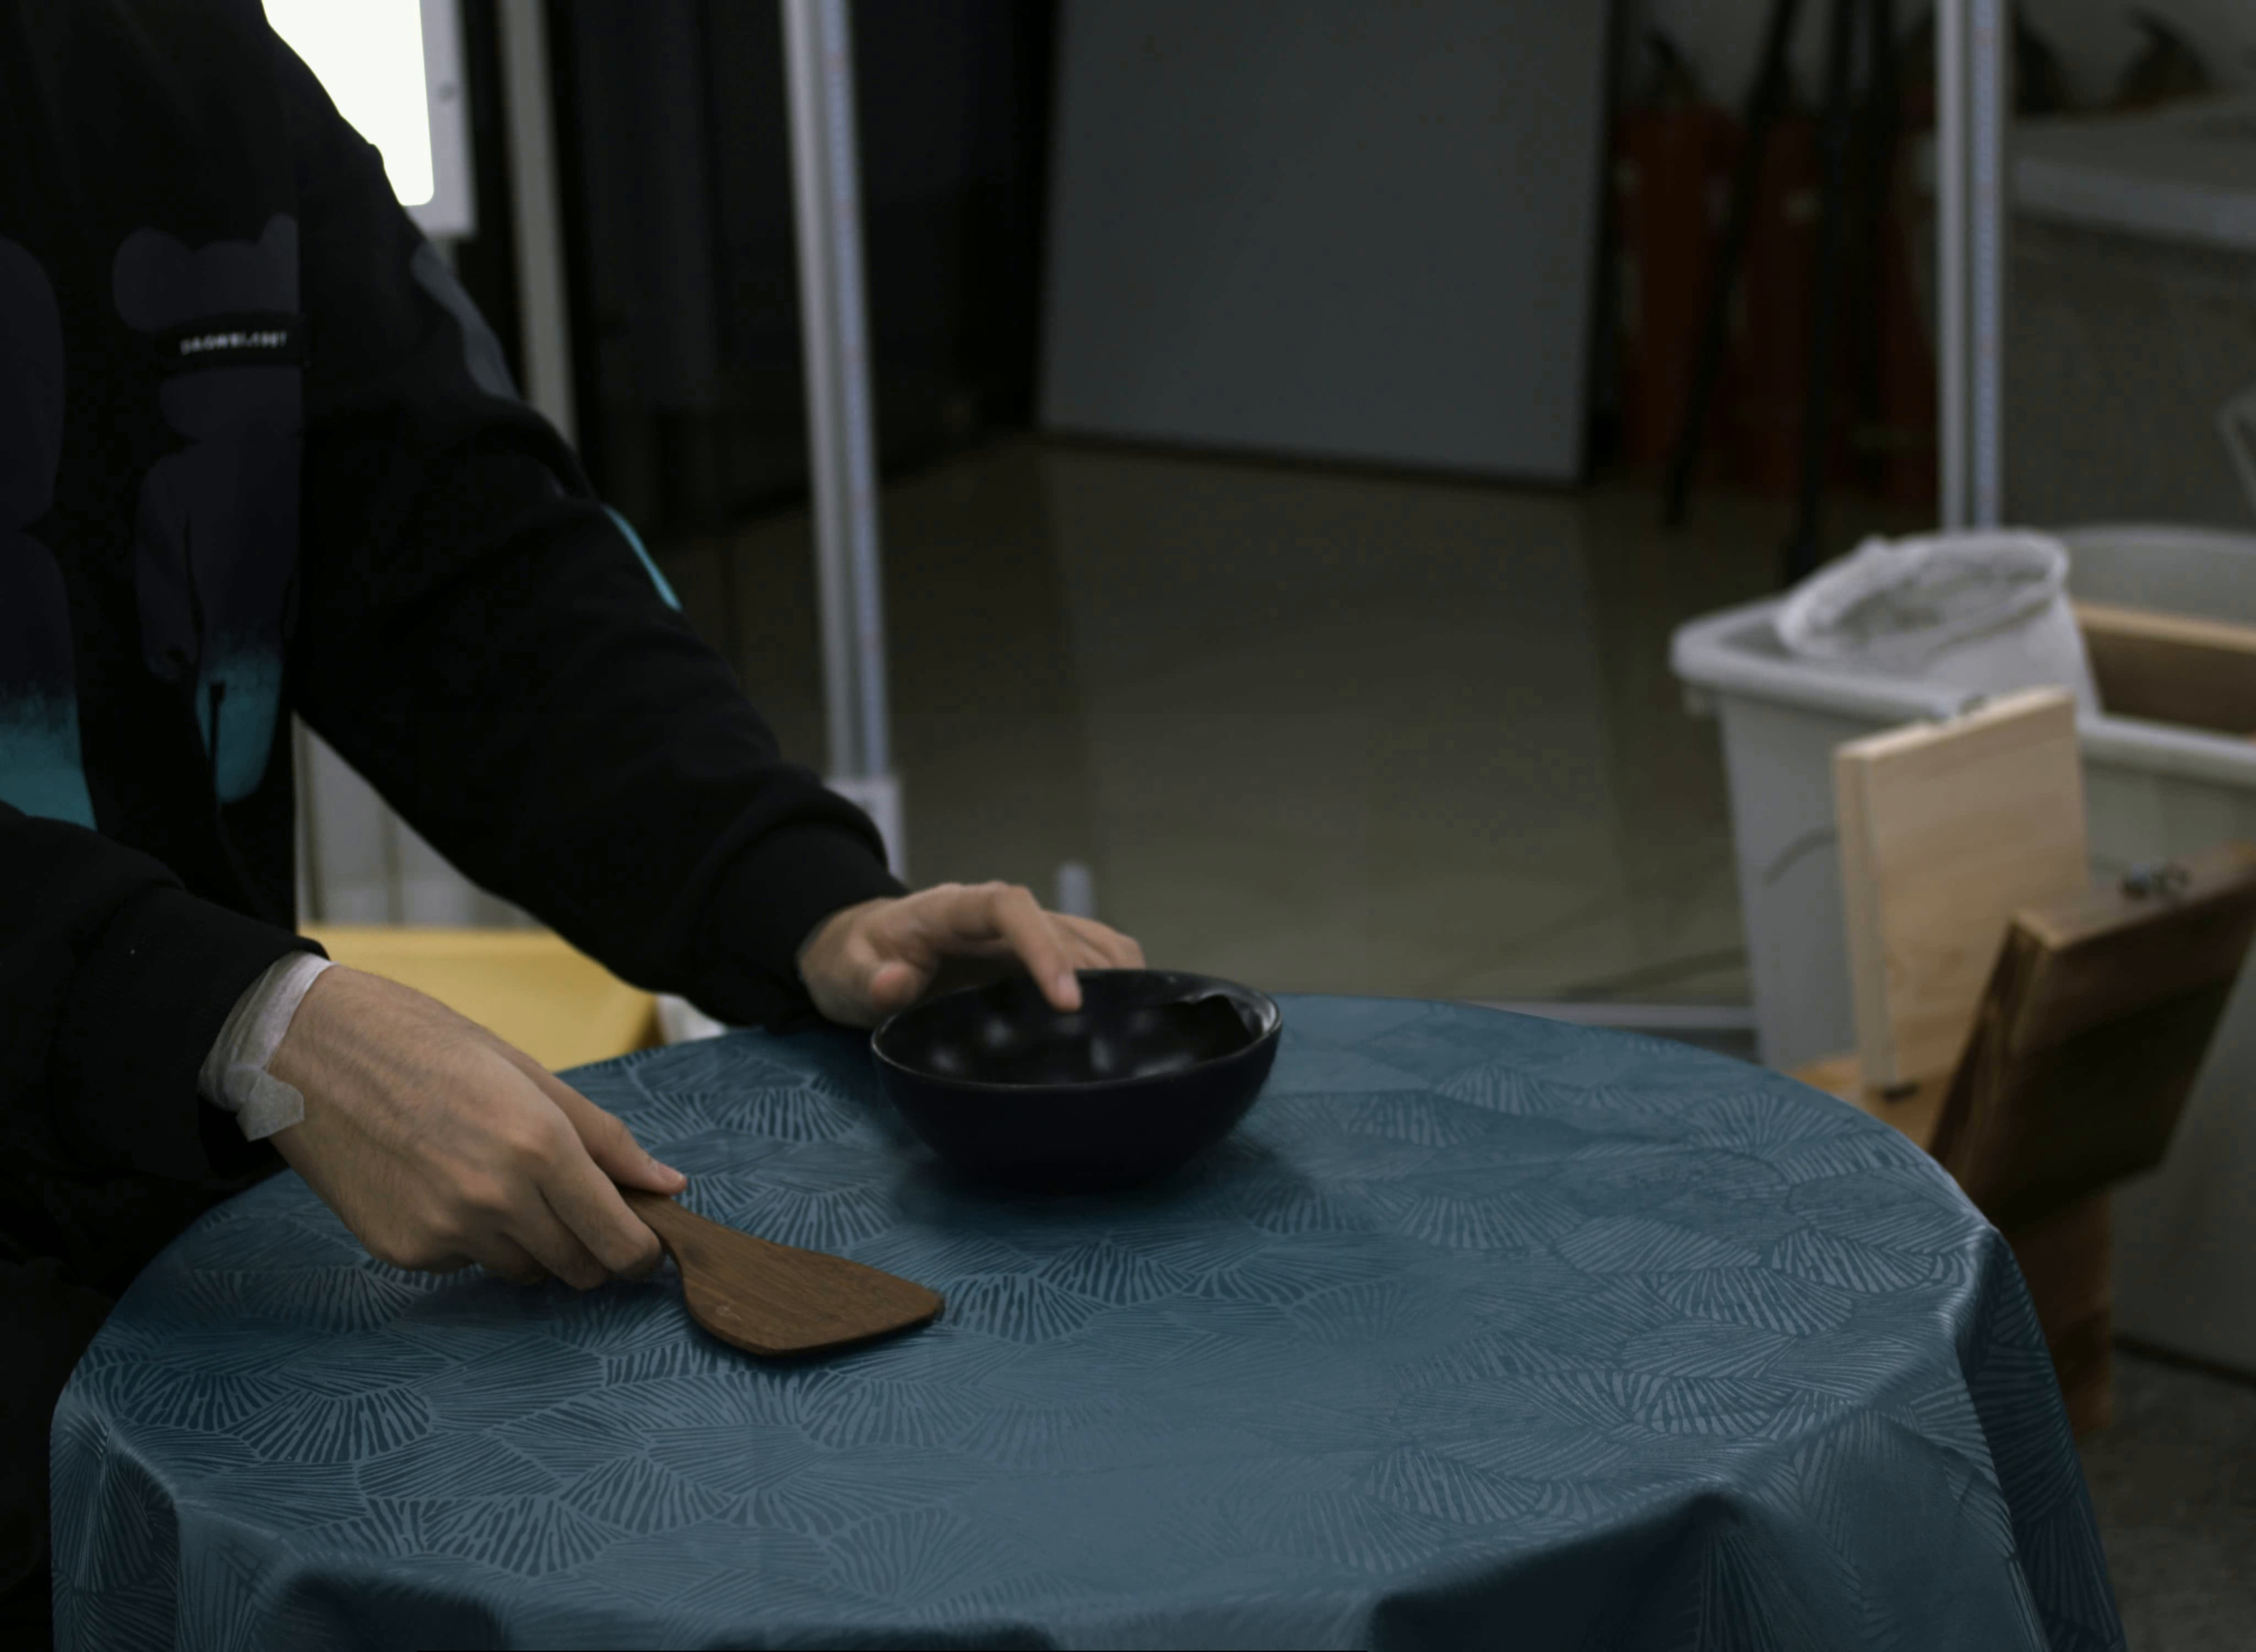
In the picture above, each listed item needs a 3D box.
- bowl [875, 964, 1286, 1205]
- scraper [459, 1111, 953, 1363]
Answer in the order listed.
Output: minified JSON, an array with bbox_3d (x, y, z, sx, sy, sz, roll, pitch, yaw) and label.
[{"bbox_3d":[-0.014,0.091,1.798,0.138,0.050,0.140,-6,16,1],"label":"bowl"},{"bbox_3d":[-0.144,0.128,1.713,0.074,0.011,0.213,-11,24,-40],"label":"scraper"}]
